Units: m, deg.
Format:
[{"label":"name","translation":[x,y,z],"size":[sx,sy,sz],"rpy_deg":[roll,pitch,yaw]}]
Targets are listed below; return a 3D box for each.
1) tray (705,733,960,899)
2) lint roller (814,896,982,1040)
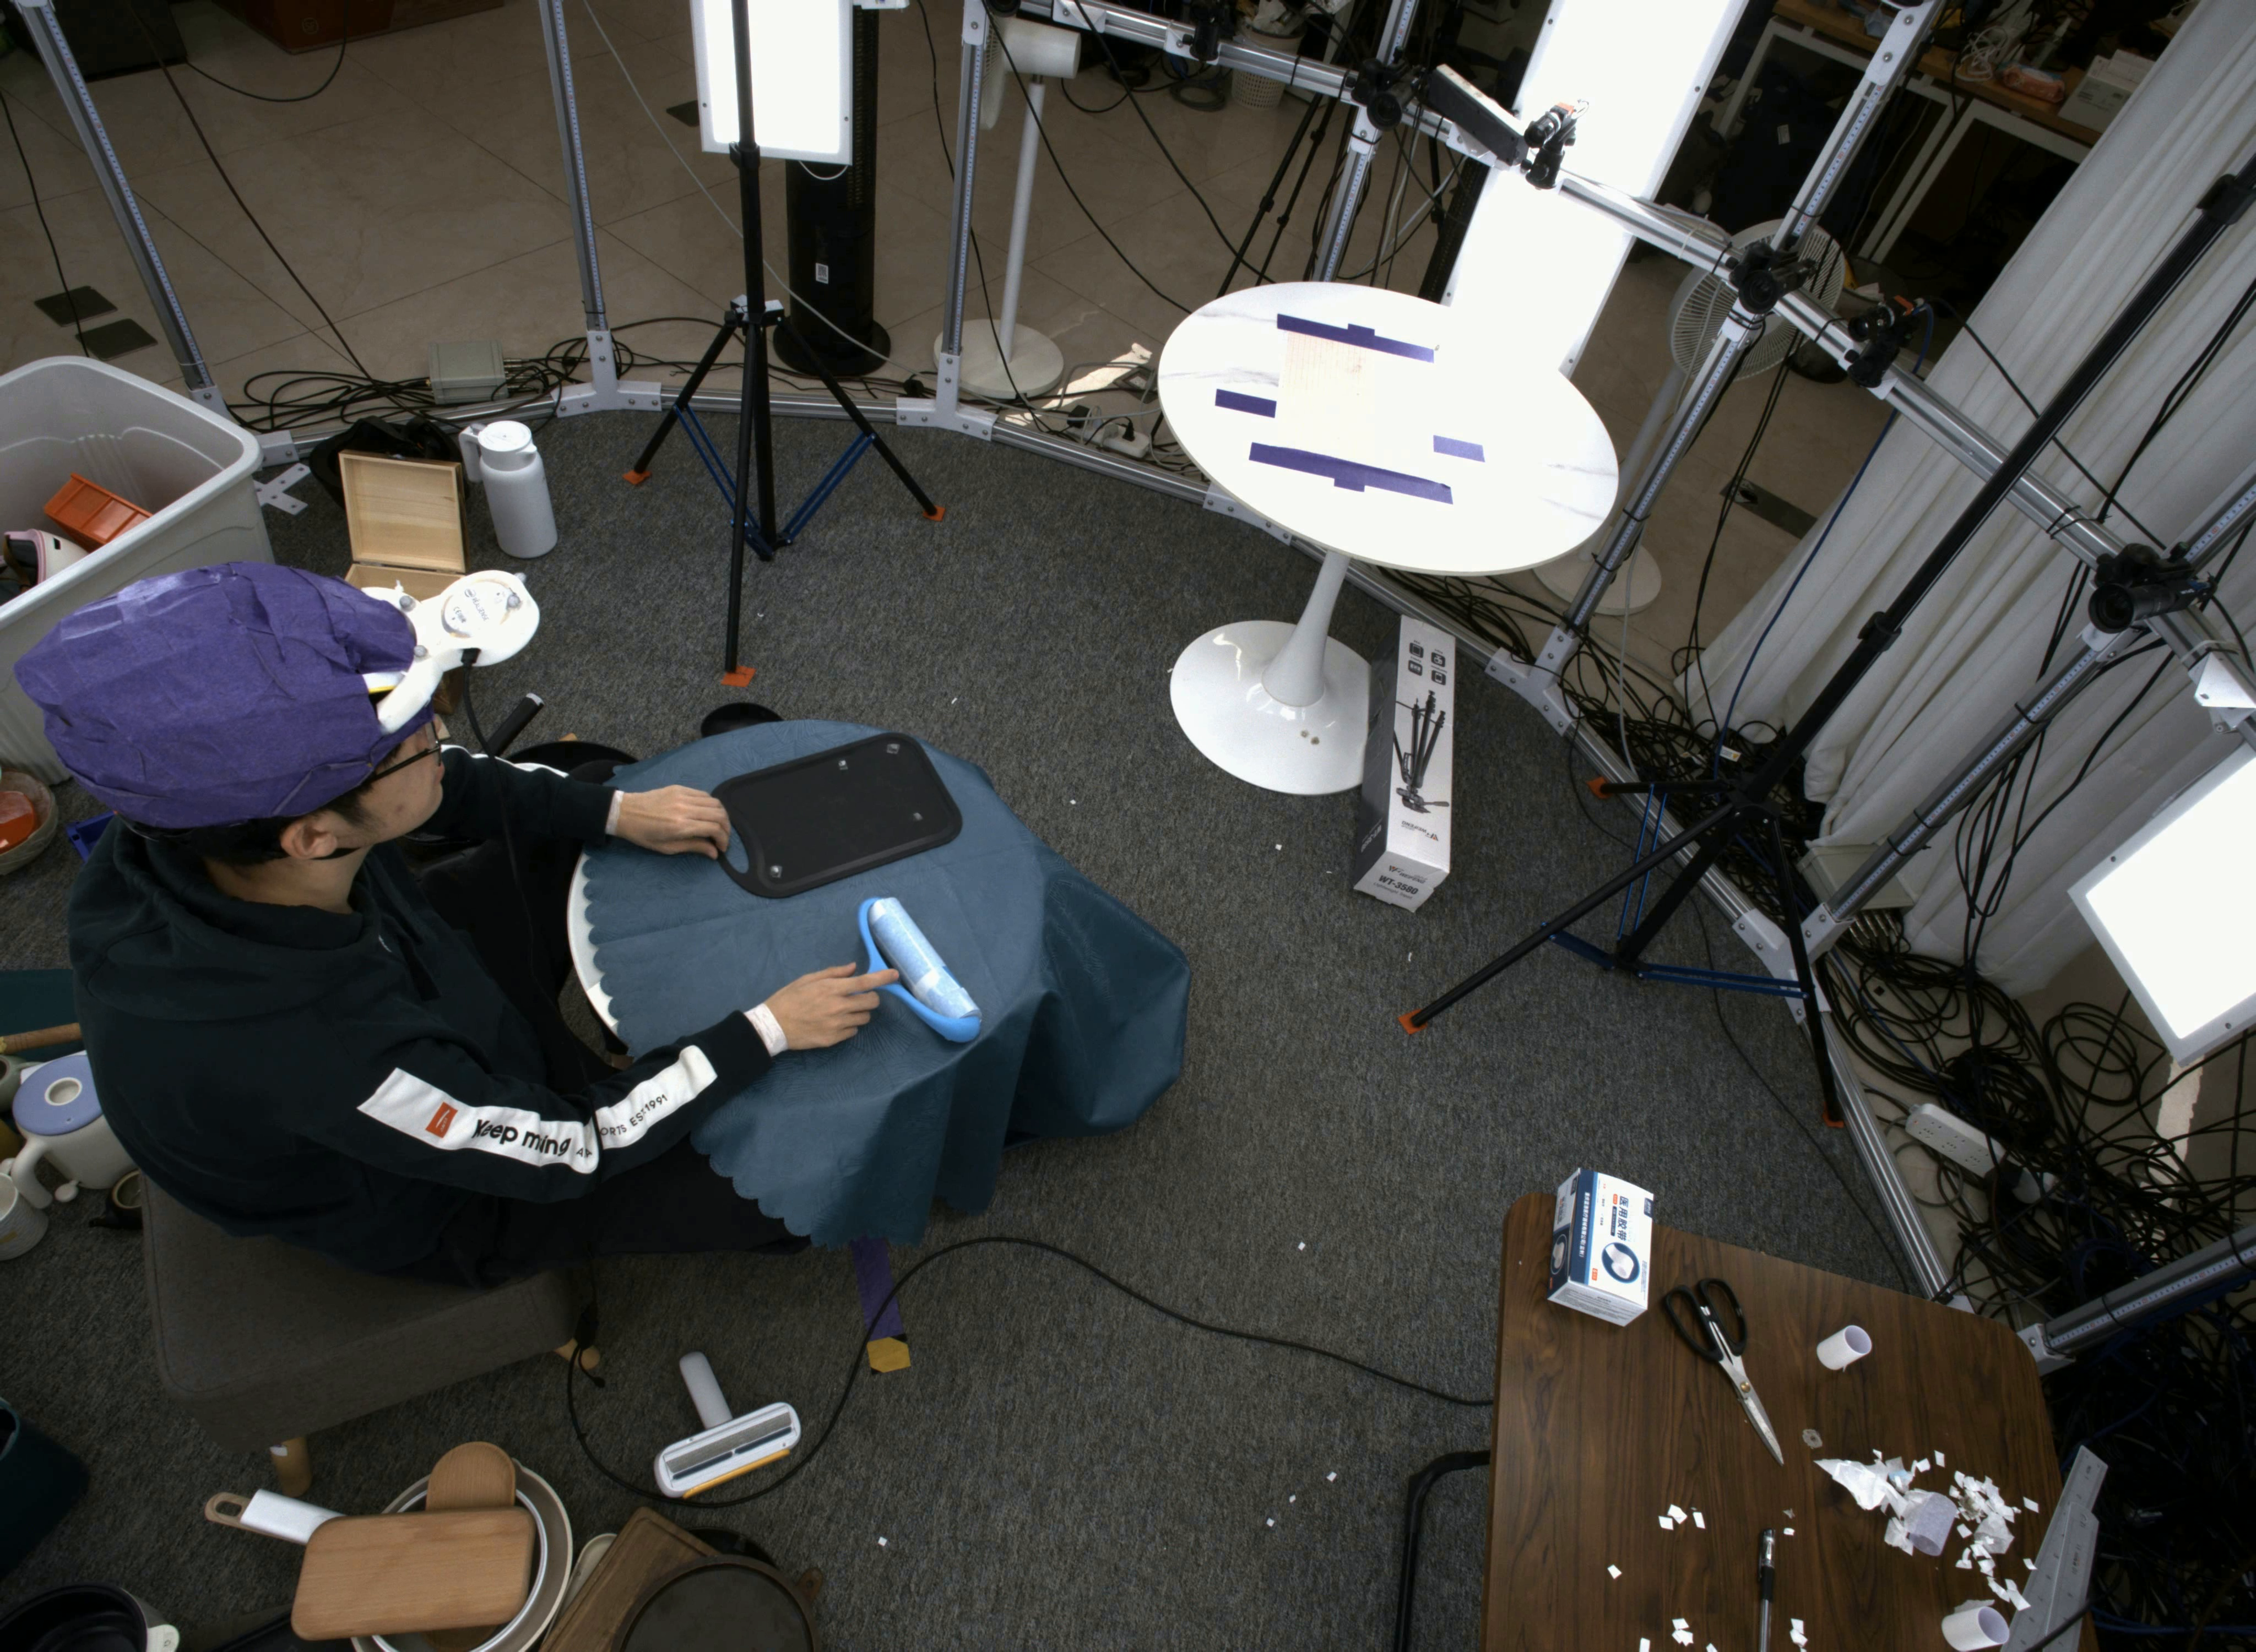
[{"label":"tray","translation":[-0.401,-0.019,1.745],"size":[0.327,0.010,0.206],"rpy_deg":[-19,61,-26]},{"label":"lint roller","translation":[-0.300,0.197,1.581],"size":[0.181,0.069,0.224],"rpy_deg":[-31,68,-32]}]
